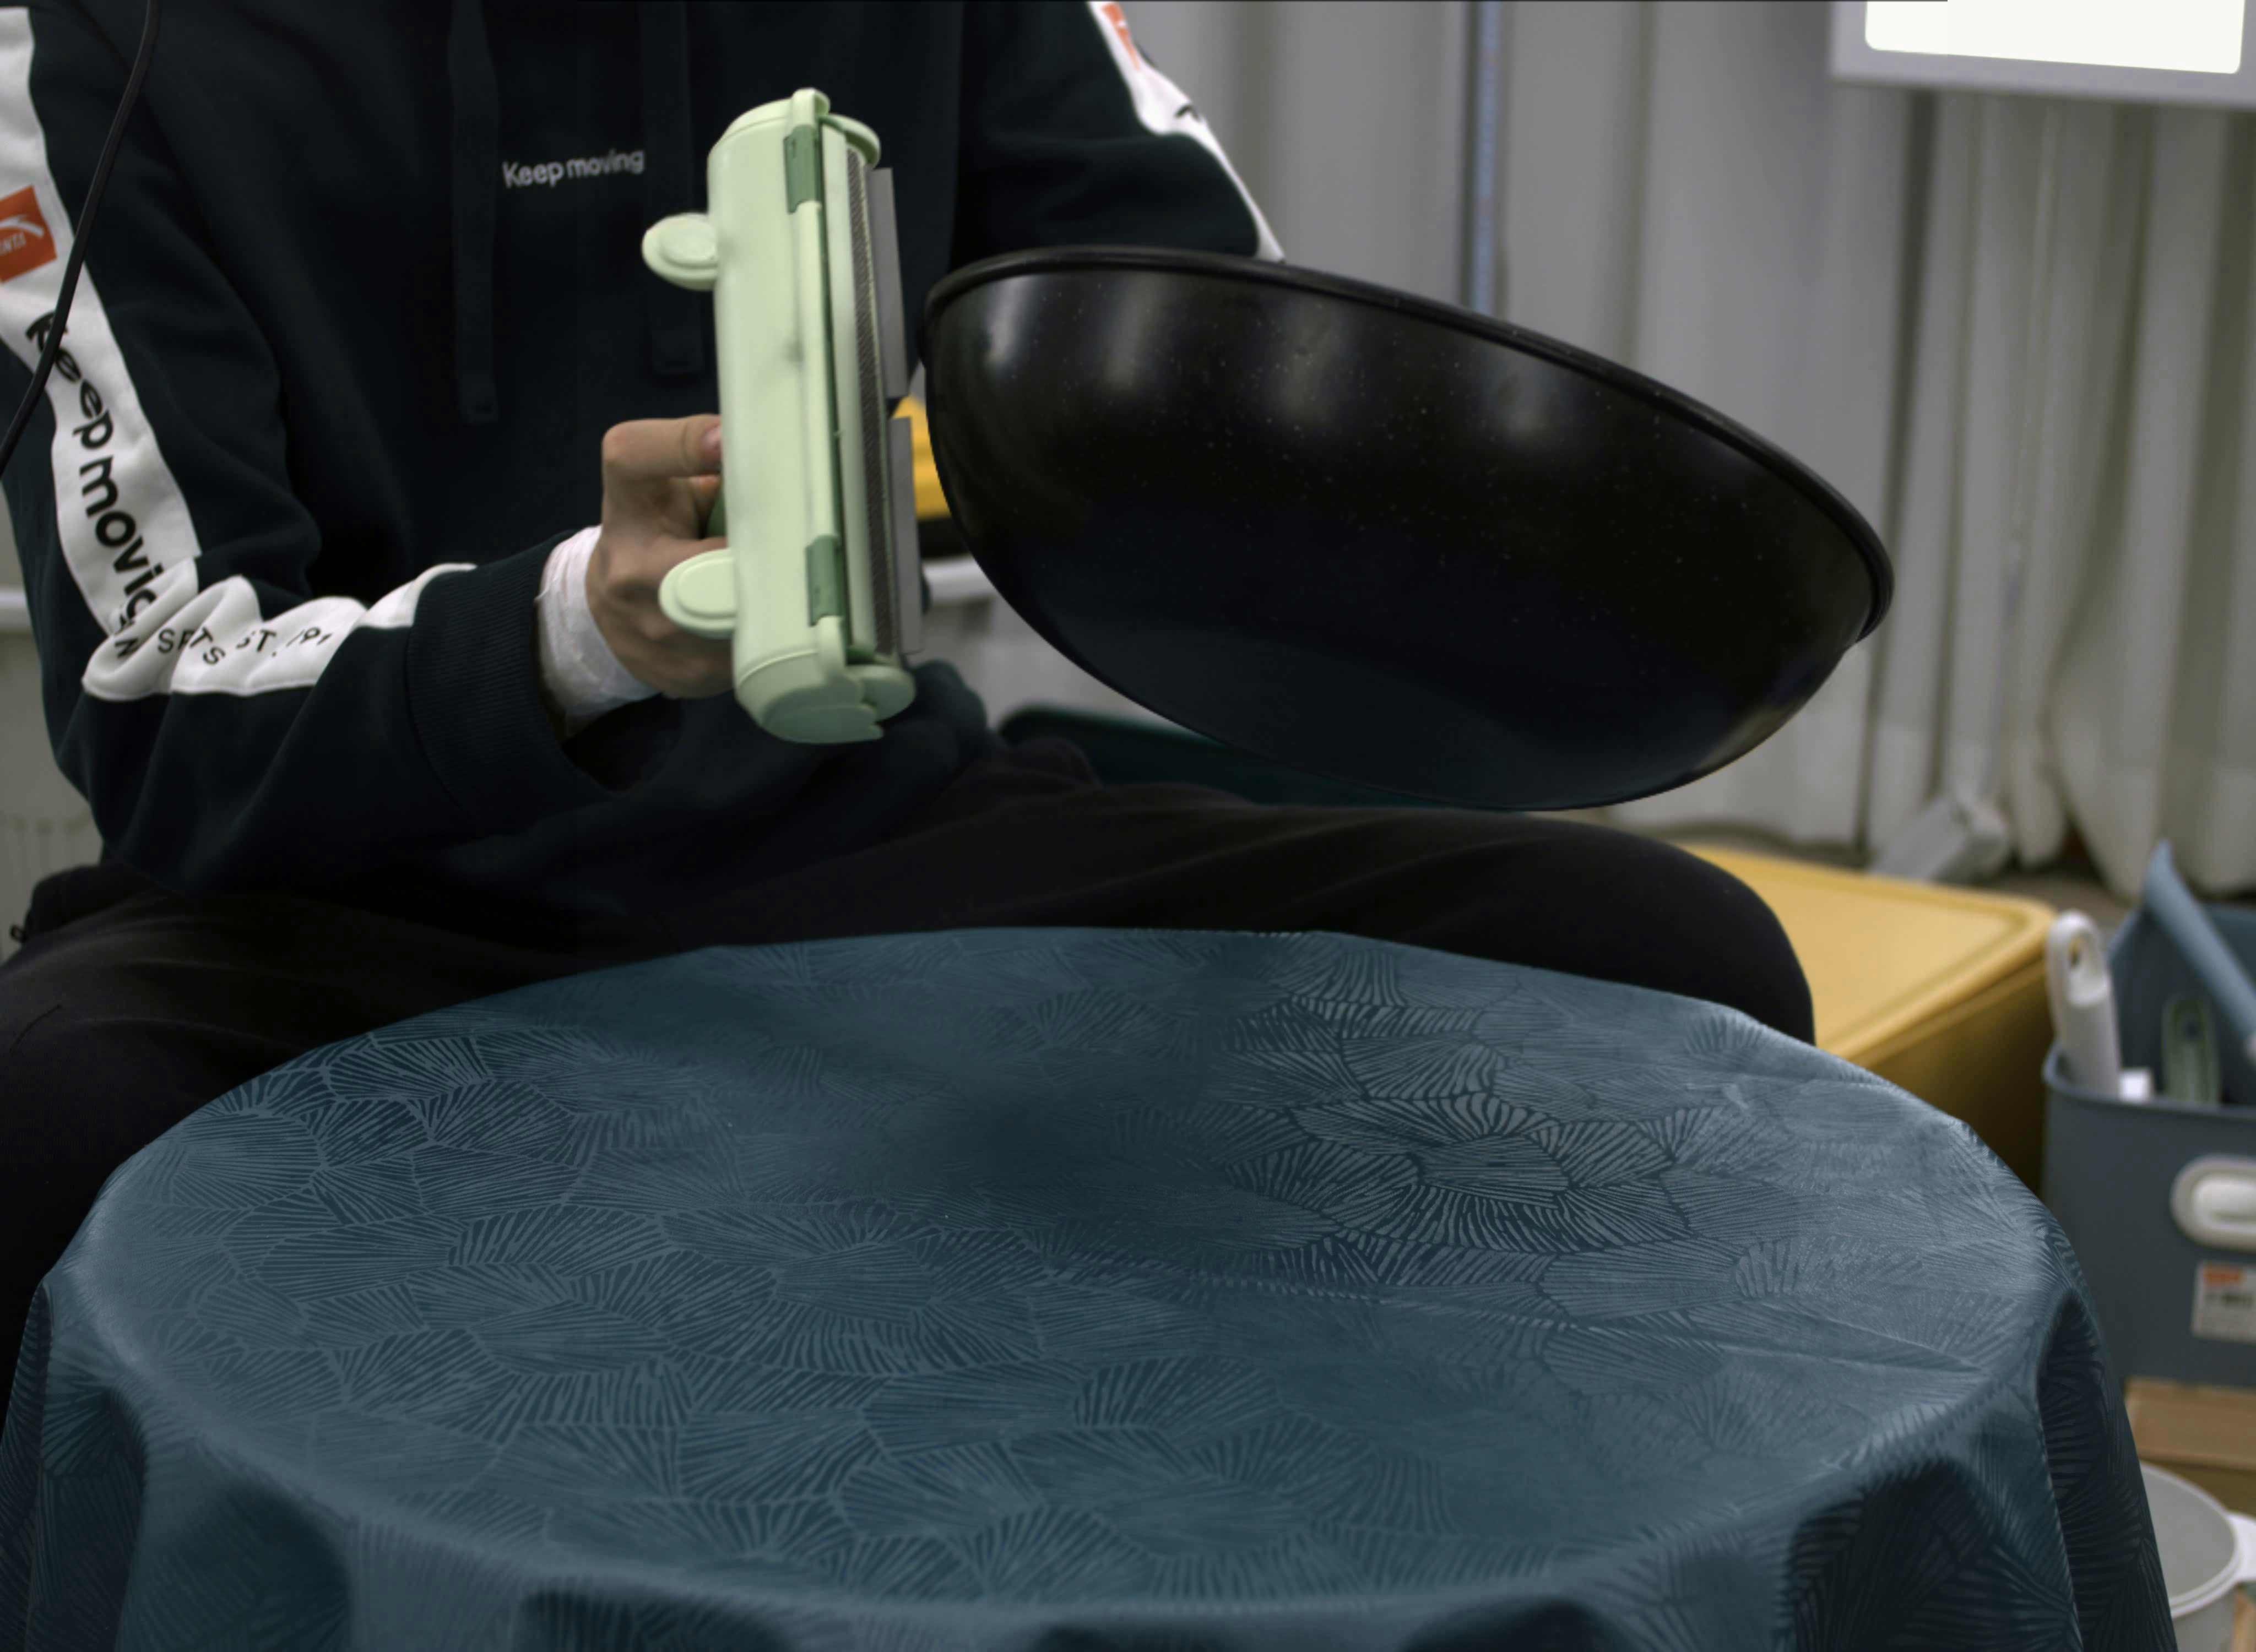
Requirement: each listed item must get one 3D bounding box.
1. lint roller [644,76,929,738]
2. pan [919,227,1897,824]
[{"bbox_3d":[-0.121,-0.107,1.631,0.082,0.198,0.183,3,-21,-23],"label":"lint roller"},{"bbox_3d":[0.071,-0.065,1.668,0.309,0.111,0.478,18,-13,1],"label":"pan"}]
